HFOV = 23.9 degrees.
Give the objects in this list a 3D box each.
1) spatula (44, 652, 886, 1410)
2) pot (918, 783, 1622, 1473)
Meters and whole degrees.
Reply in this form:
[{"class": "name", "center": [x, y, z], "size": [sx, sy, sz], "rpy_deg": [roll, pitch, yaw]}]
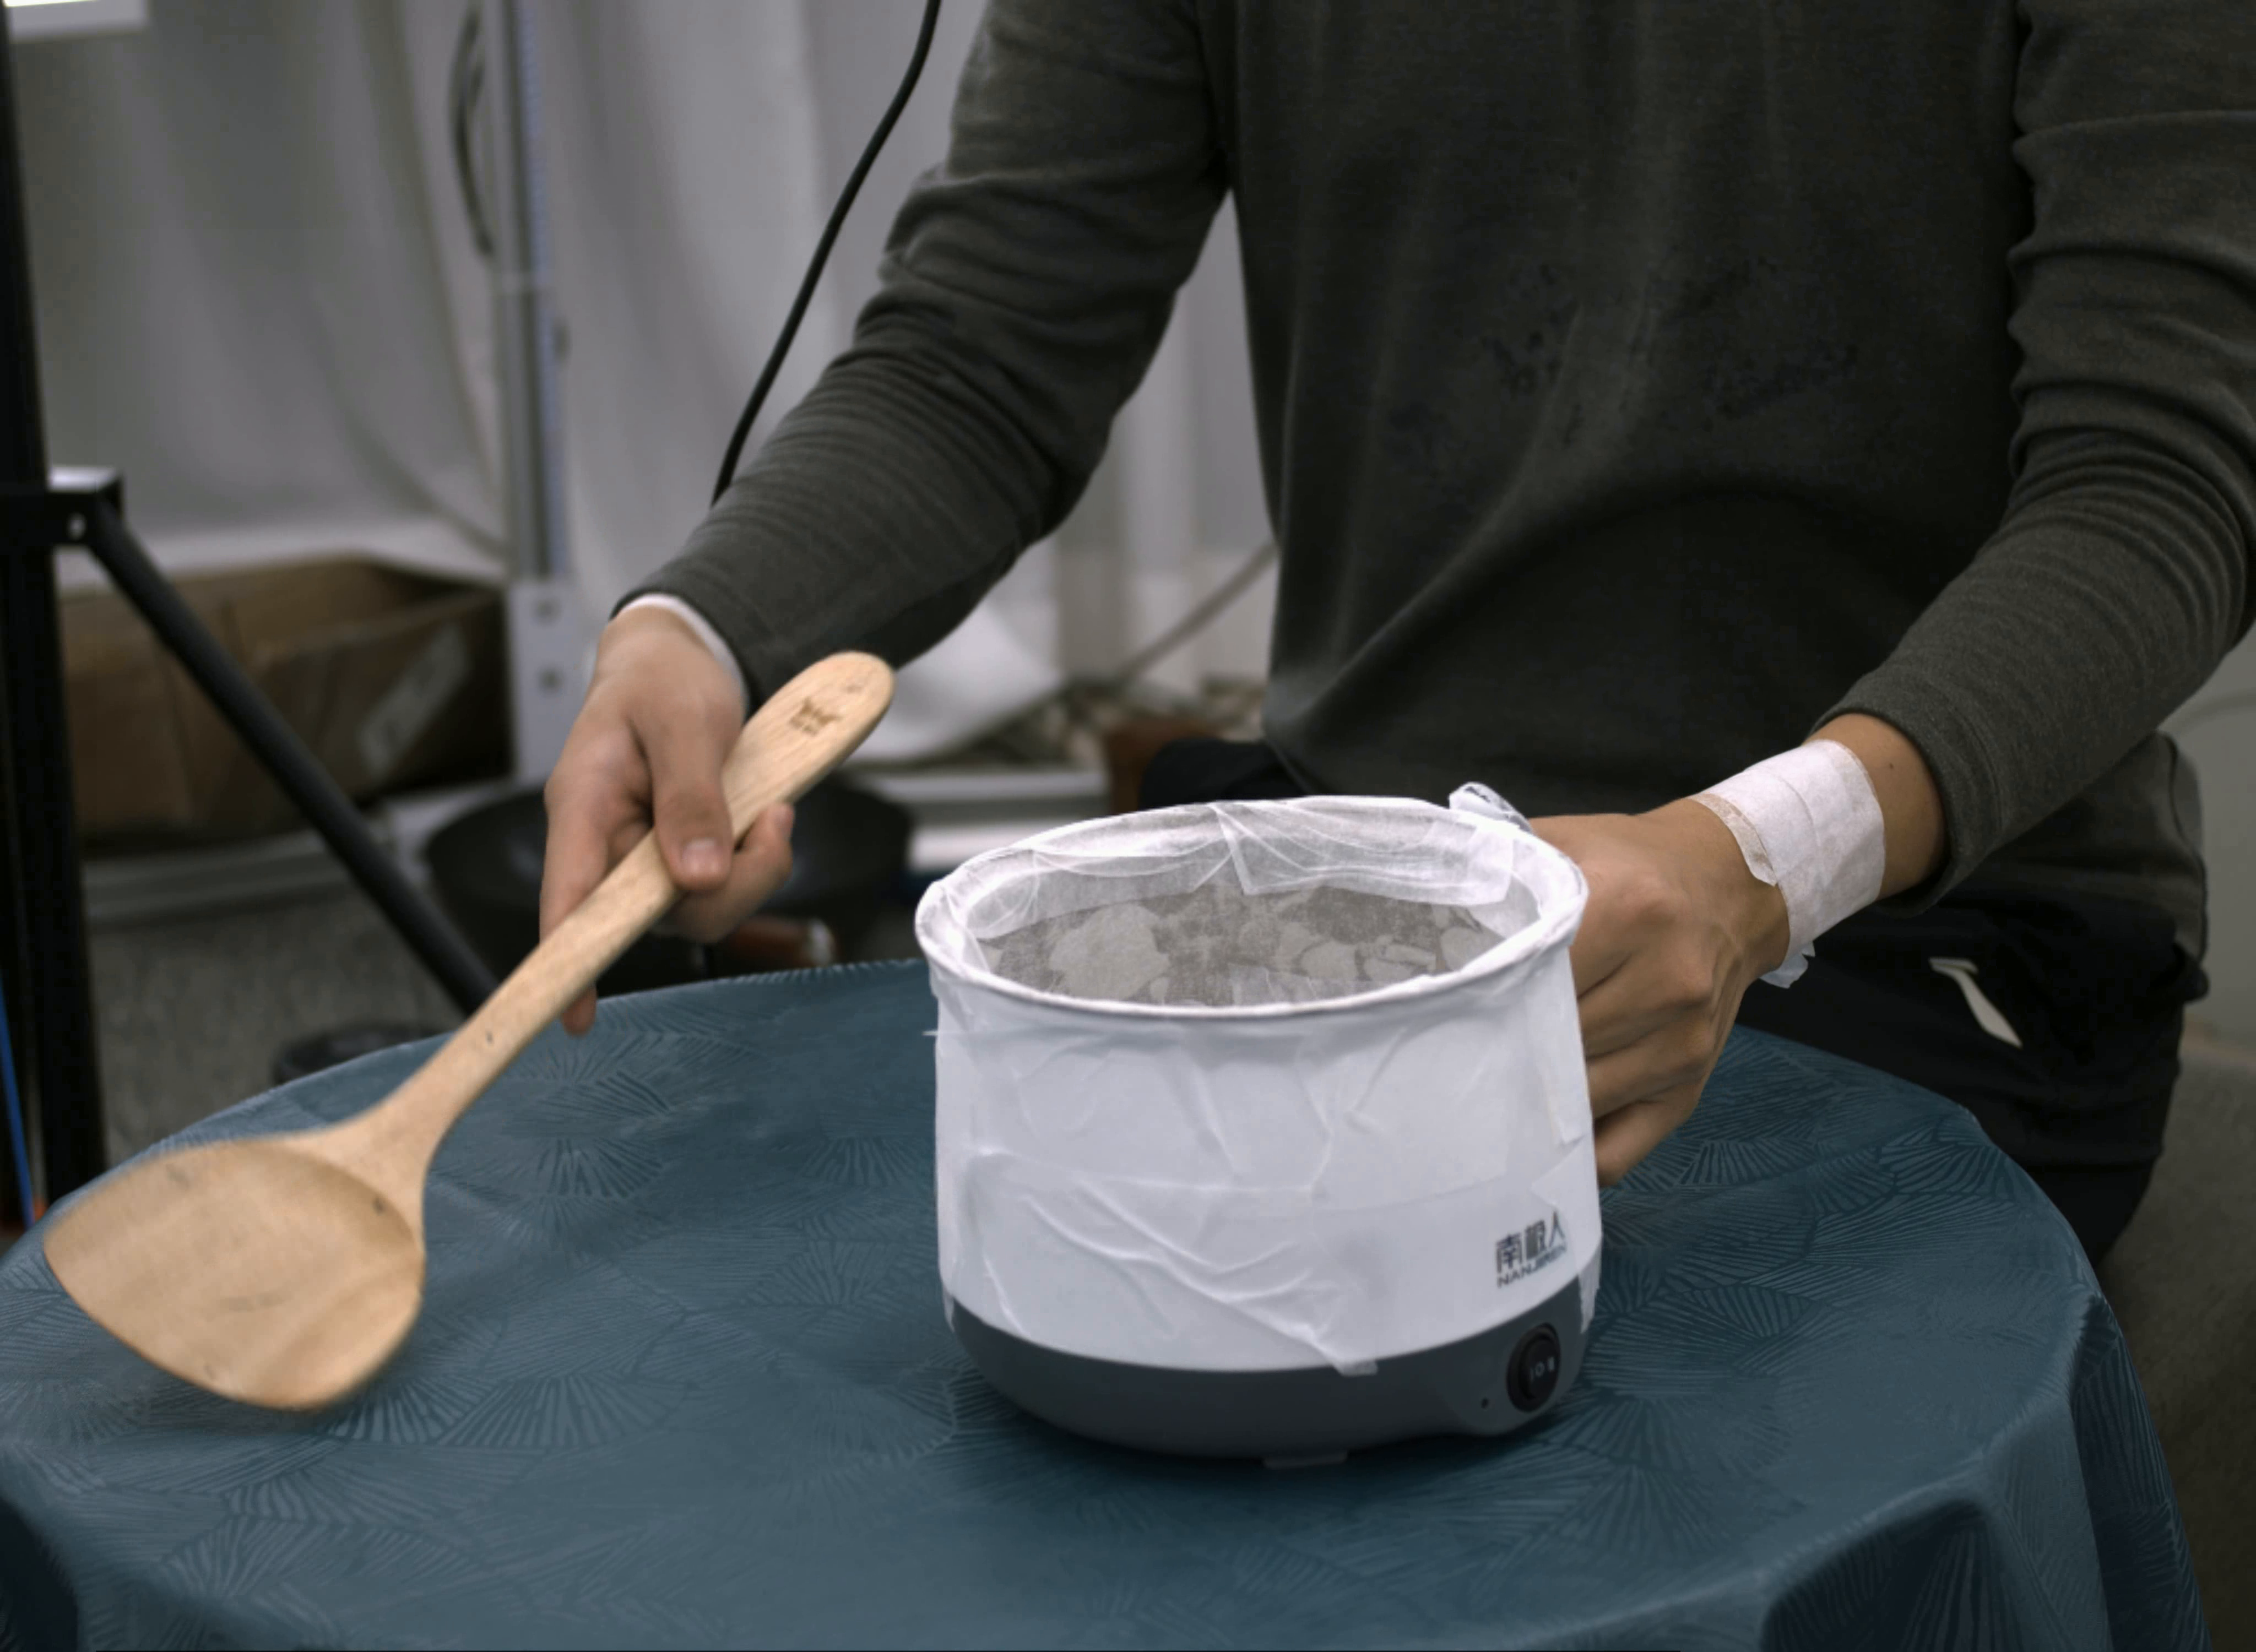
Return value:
[{"class": "spatula", "center": [-0.173, 0.045, 1.558], "size": [0.096, 0.018, 0.387], "rpy_deg": [27, 42, 12]}, {"class": "pot", "center": [0.054, 0.072, 1.419], "size": [0.182, 0.136, 0.229], "rpy_deg": [11, 22, 38]}]
